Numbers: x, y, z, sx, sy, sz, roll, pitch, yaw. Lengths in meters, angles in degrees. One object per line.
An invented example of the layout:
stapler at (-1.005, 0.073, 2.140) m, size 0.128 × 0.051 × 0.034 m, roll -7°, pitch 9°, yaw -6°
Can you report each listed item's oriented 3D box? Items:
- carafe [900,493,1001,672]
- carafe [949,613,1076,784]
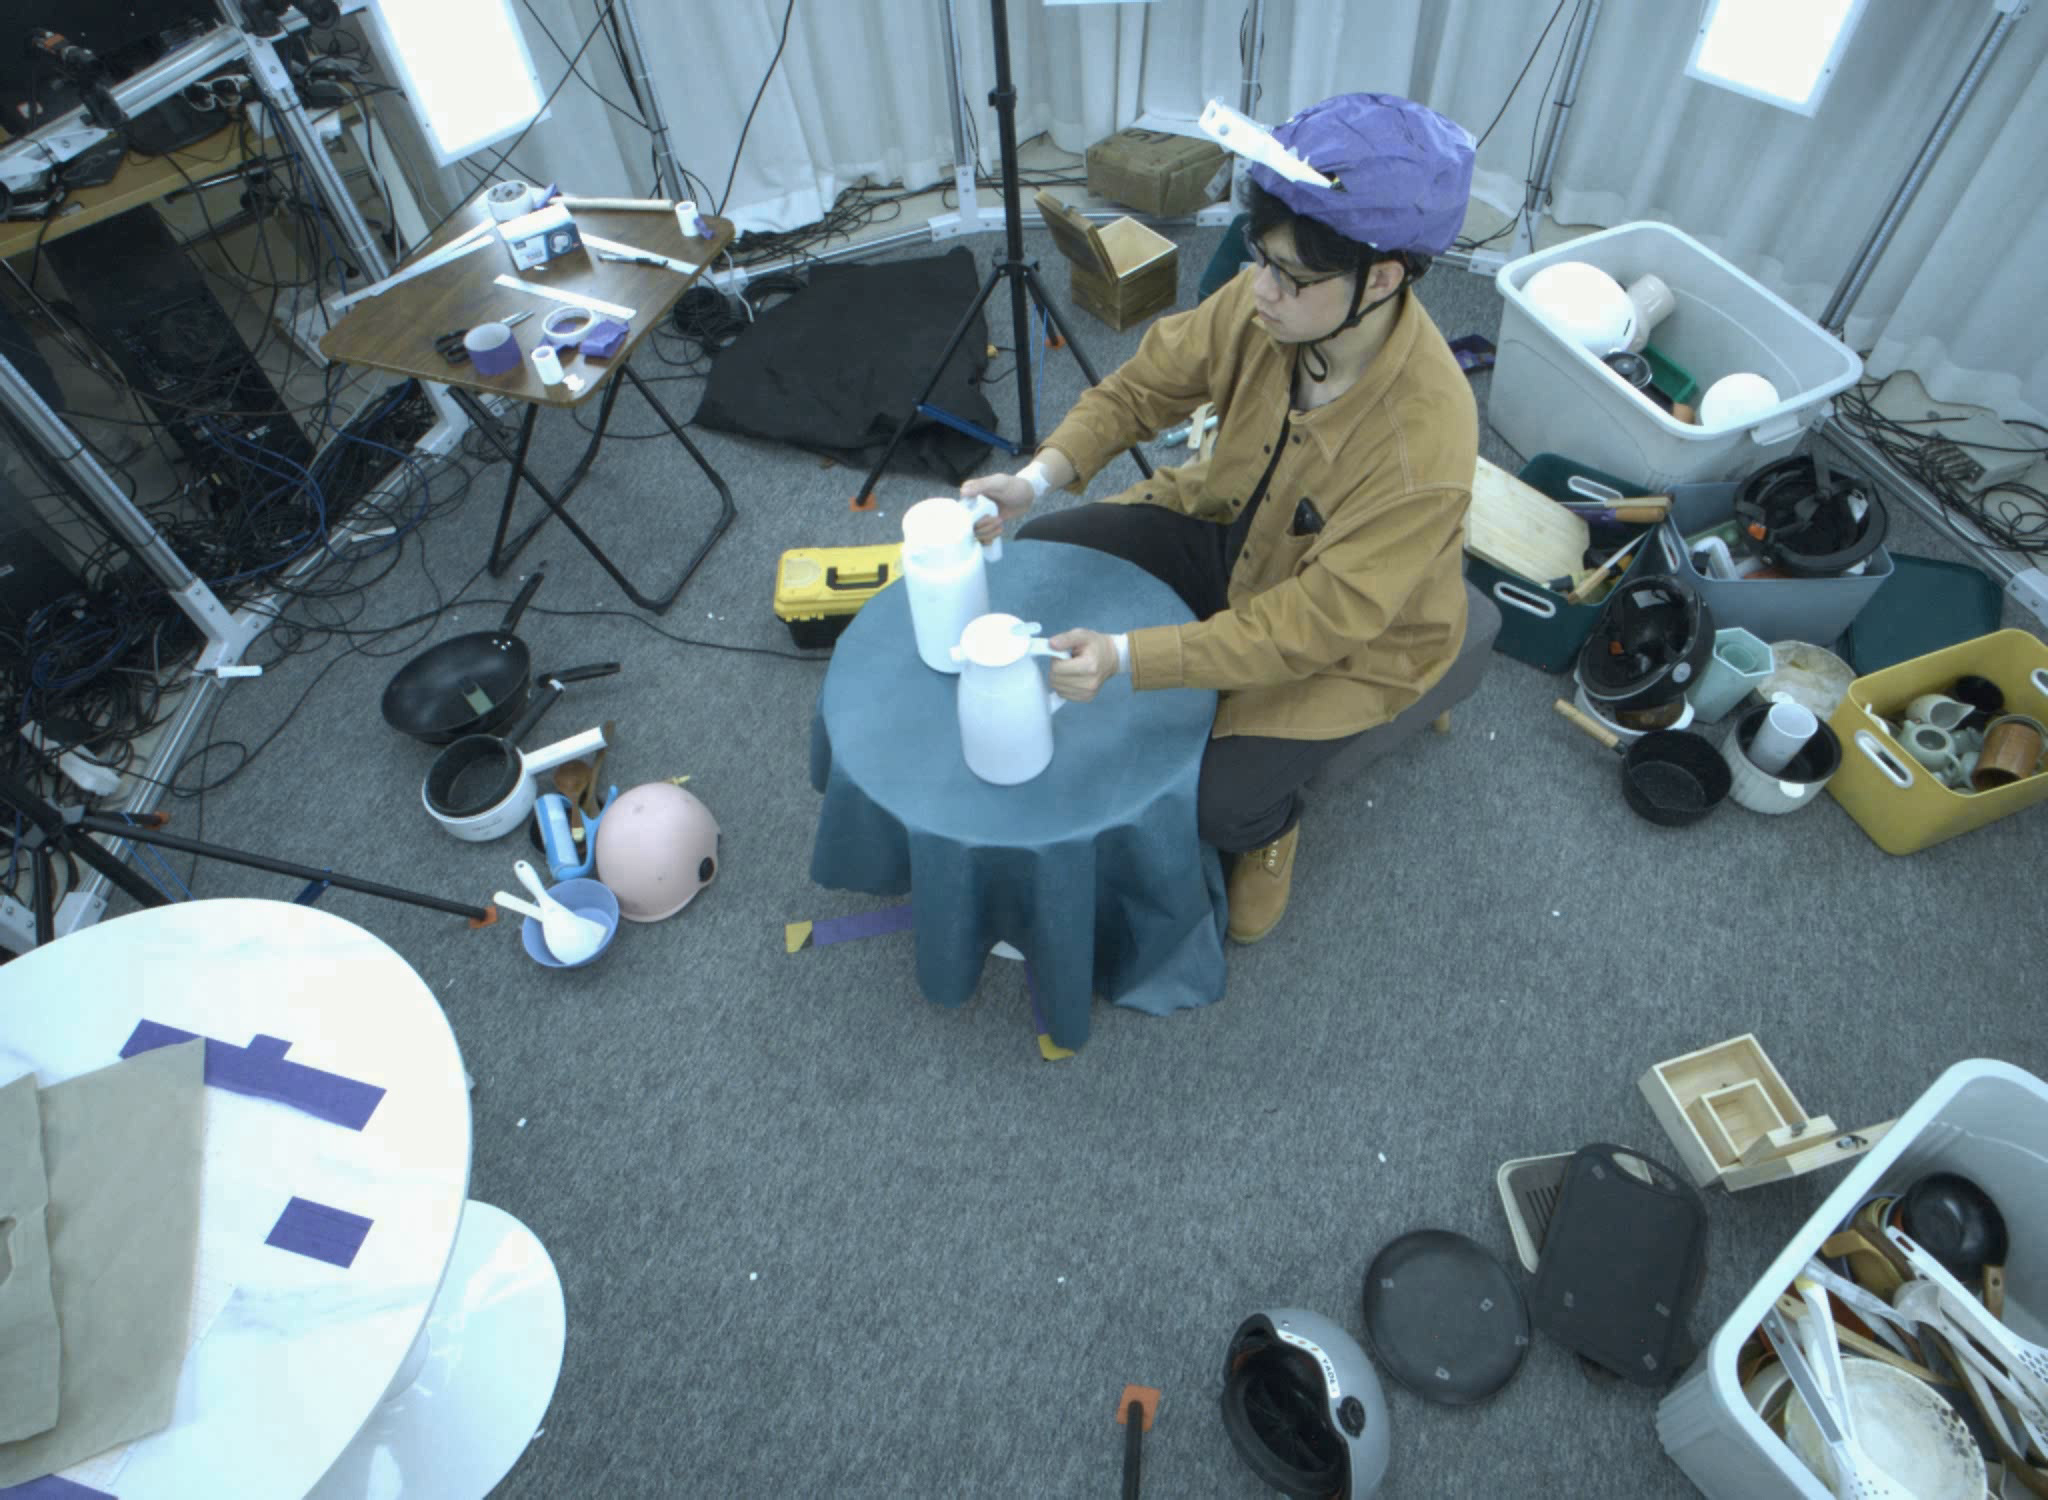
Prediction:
carafe at (-0.104, -0.251, 1.800) m, size 0.121 × 0.272 × 0.174 m, roll 34°, pitch 63°, yaw 26°
carafe at (-0.012, -0.080, 1.686) m, size 0.168 × 0.251 × 0.130 m, roll -11°, pitch 54°, yaw -5°
